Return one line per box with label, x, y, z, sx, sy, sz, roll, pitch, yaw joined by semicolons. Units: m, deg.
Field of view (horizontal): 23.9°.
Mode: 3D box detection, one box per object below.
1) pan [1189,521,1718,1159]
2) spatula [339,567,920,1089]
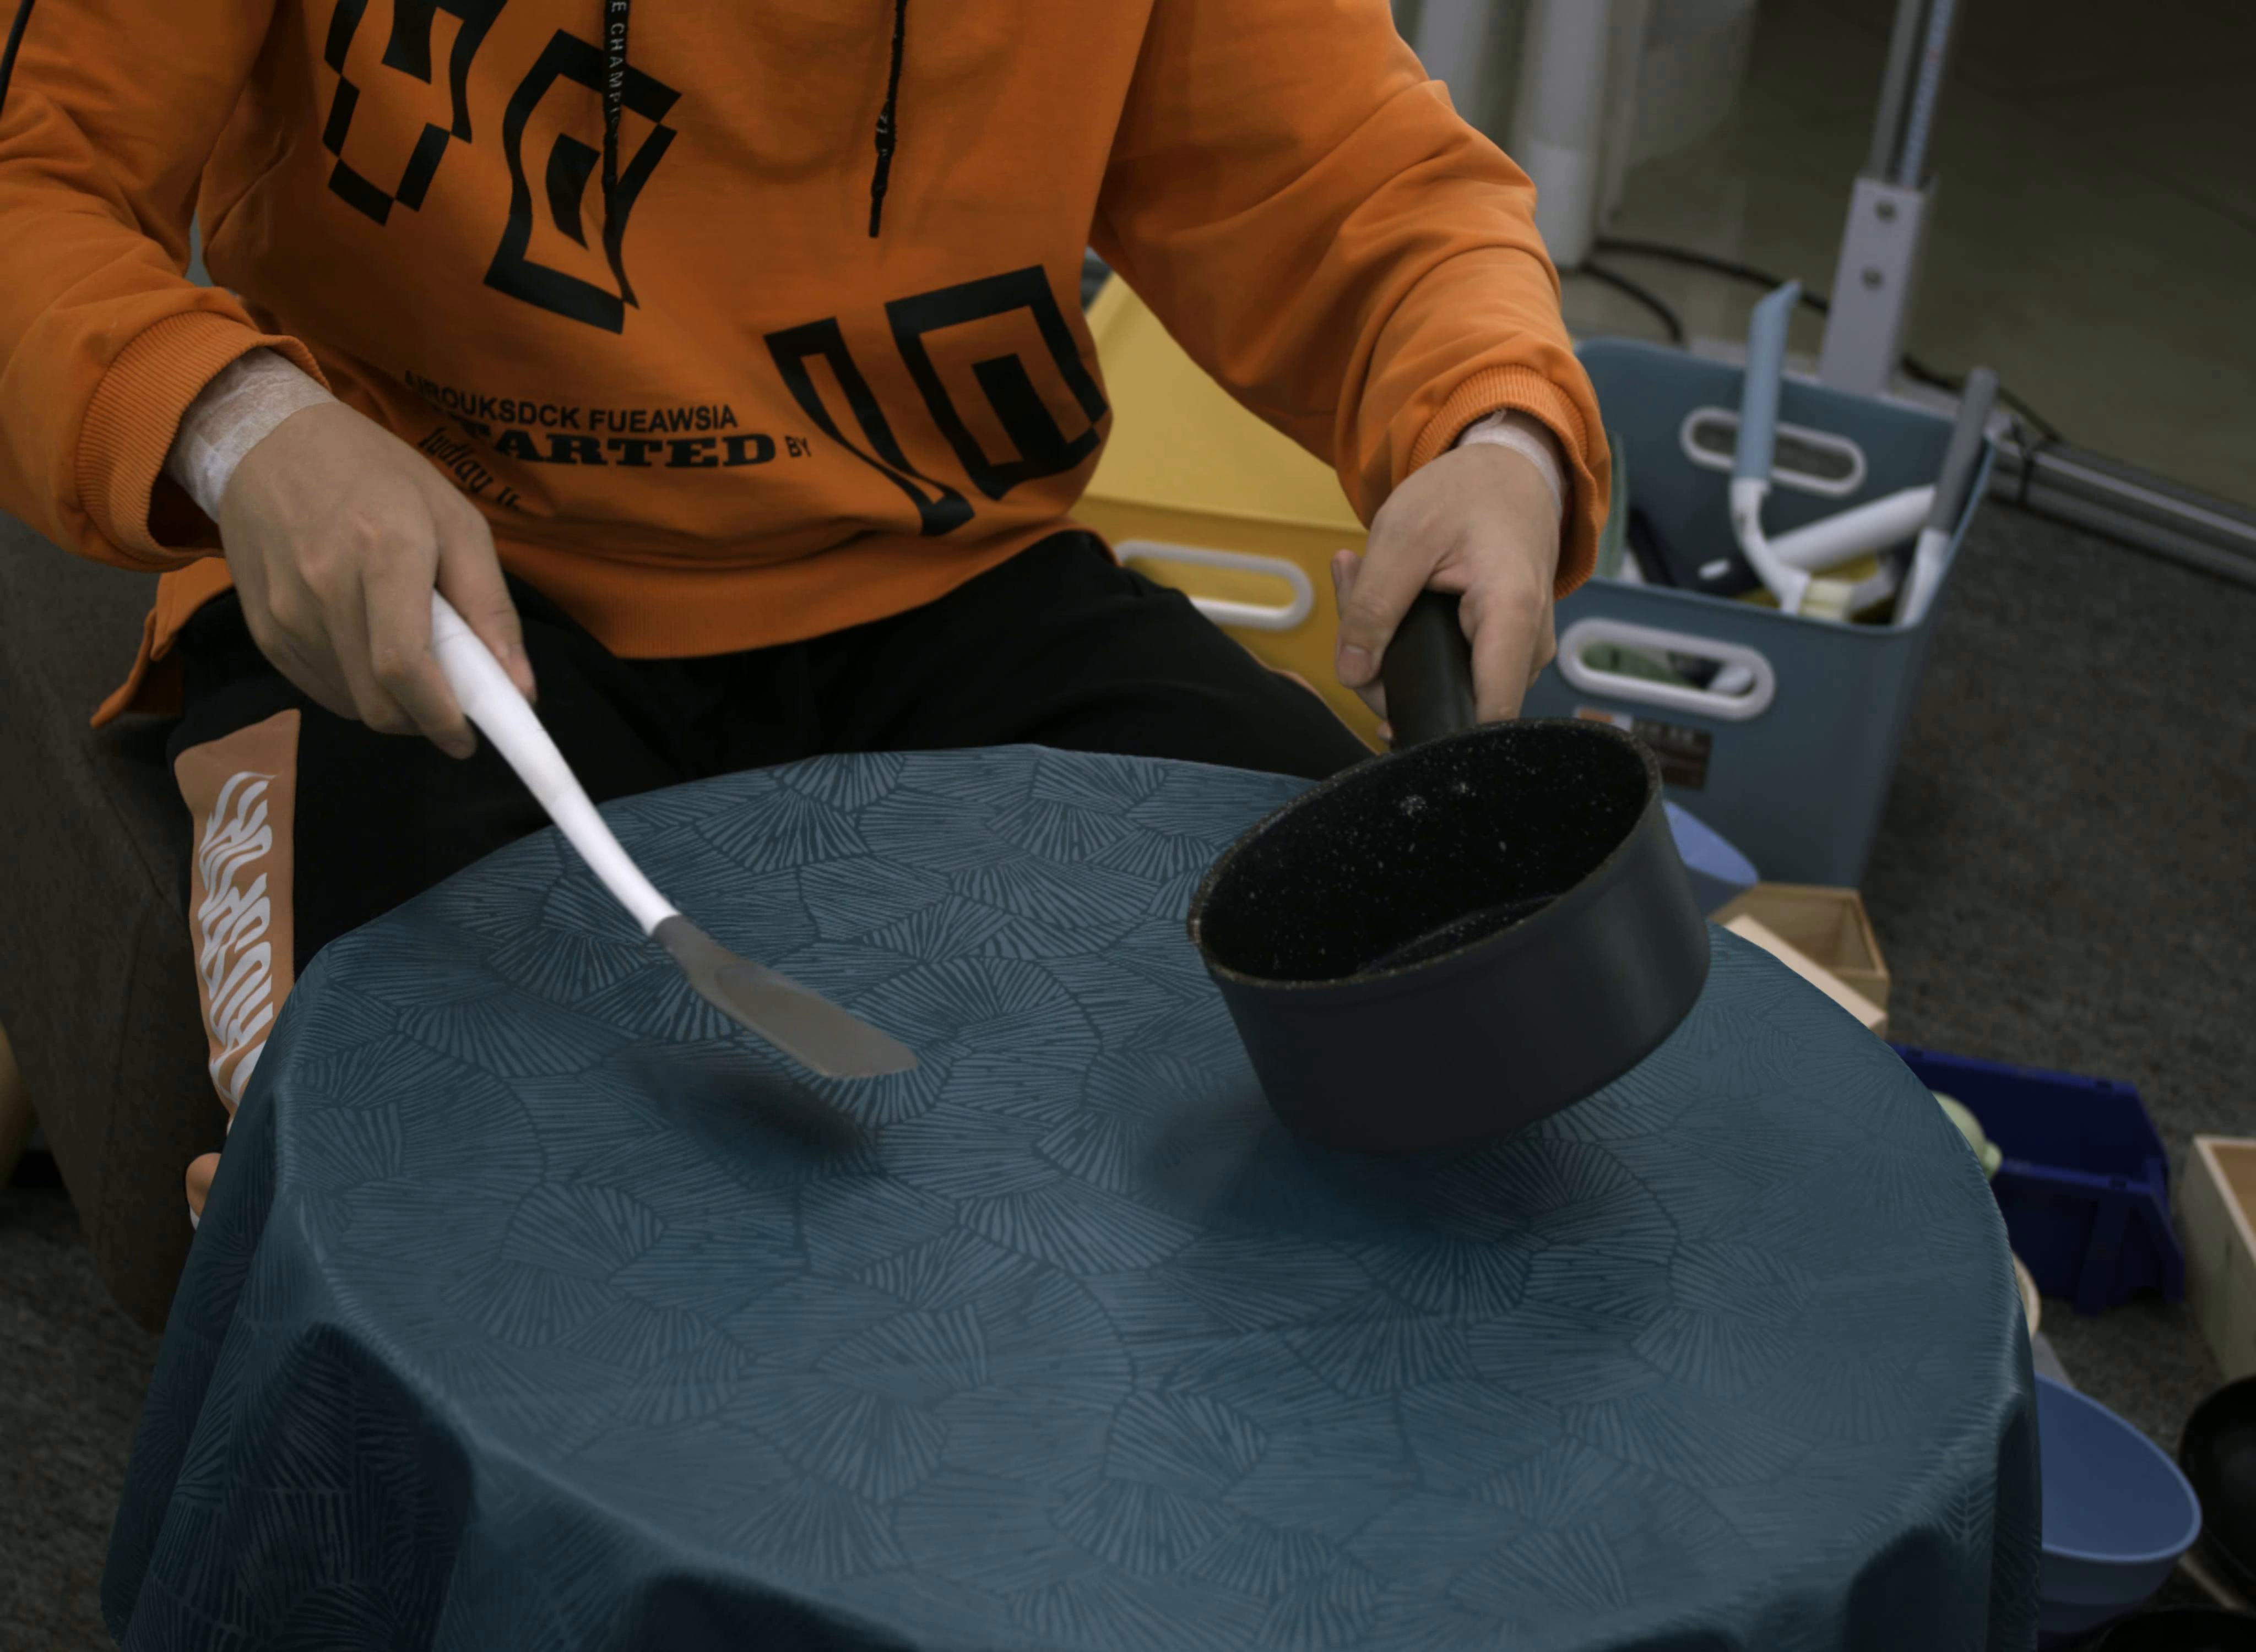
pan;0.118;0.000;1.892;0.172;0.086;0.330;-17;26;13
spatula;-0.180;0.006;1.855;0.290;0.032;0.058;43;22;28
